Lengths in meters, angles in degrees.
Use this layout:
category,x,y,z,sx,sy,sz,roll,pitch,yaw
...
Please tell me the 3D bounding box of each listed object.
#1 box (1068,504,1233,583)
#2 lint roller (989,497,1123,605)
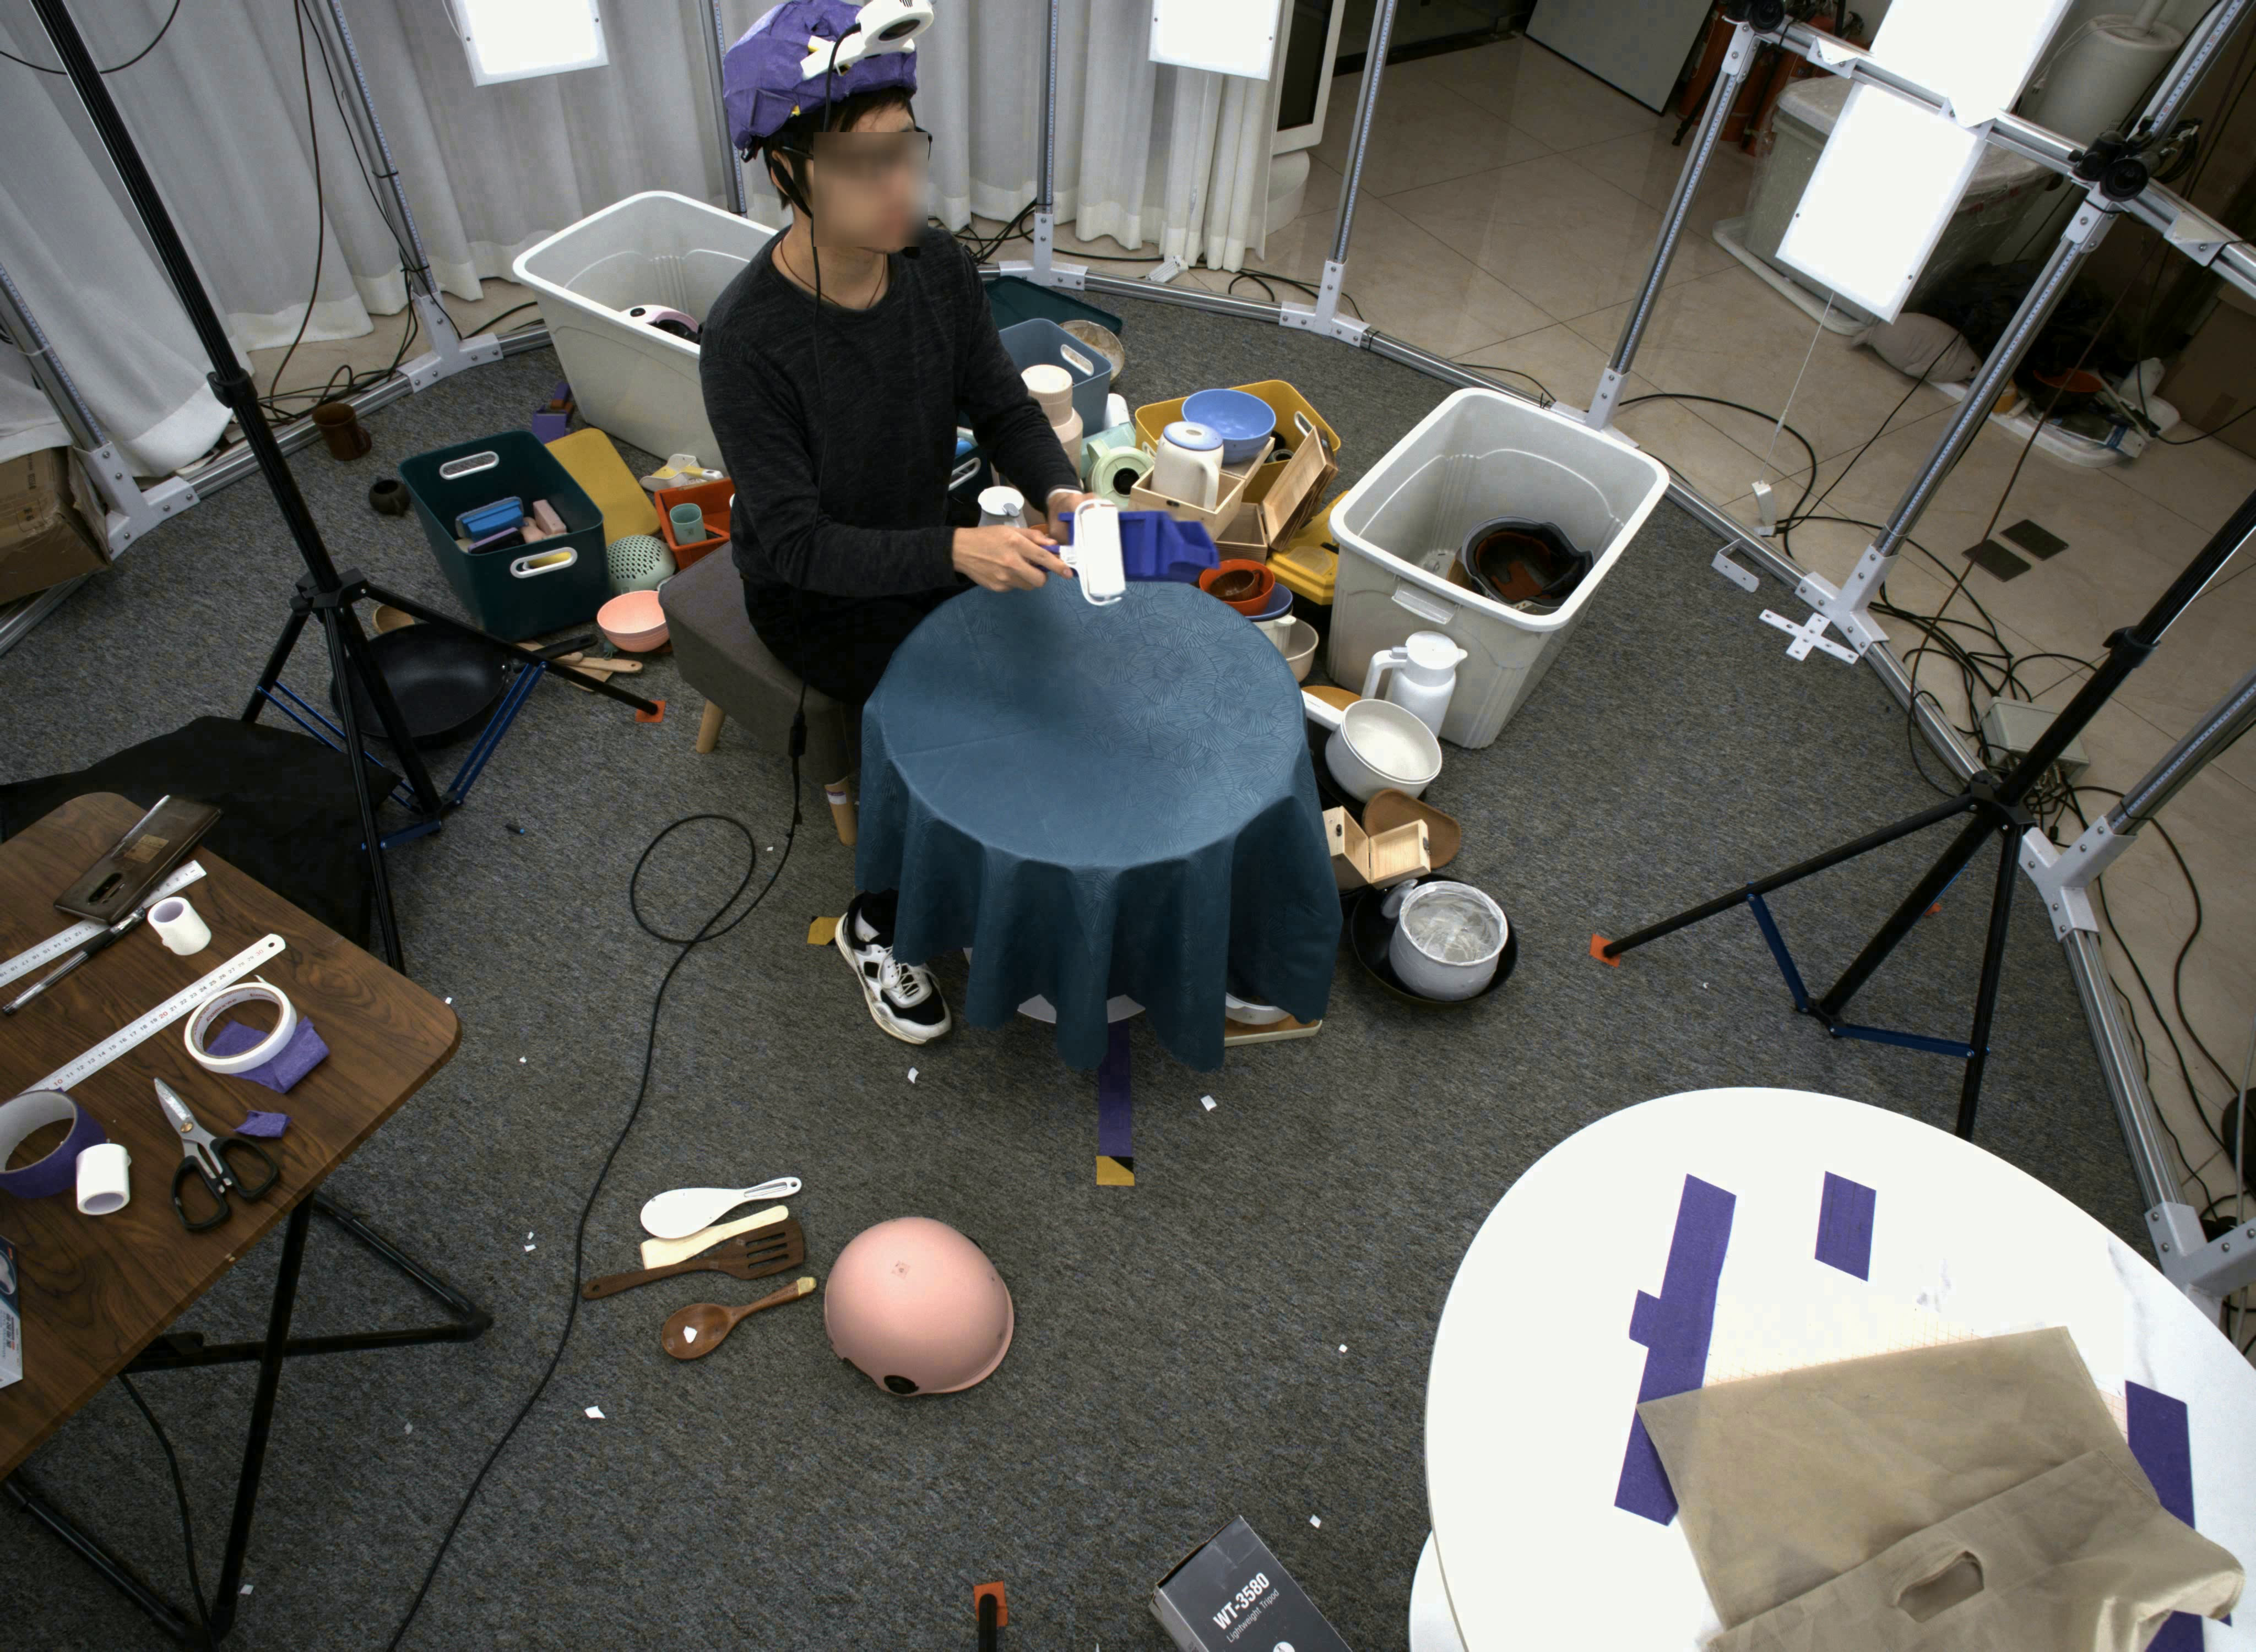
category,x,y,z,sx,sy,sz,roll,pitch,yaw
box,0.031,-0.363,1.666,0.180,0.082,0.124,1,5,28
lint roller,-0.098,-0.343,1.633,0.181,0.132,0.050,-2,12,16
